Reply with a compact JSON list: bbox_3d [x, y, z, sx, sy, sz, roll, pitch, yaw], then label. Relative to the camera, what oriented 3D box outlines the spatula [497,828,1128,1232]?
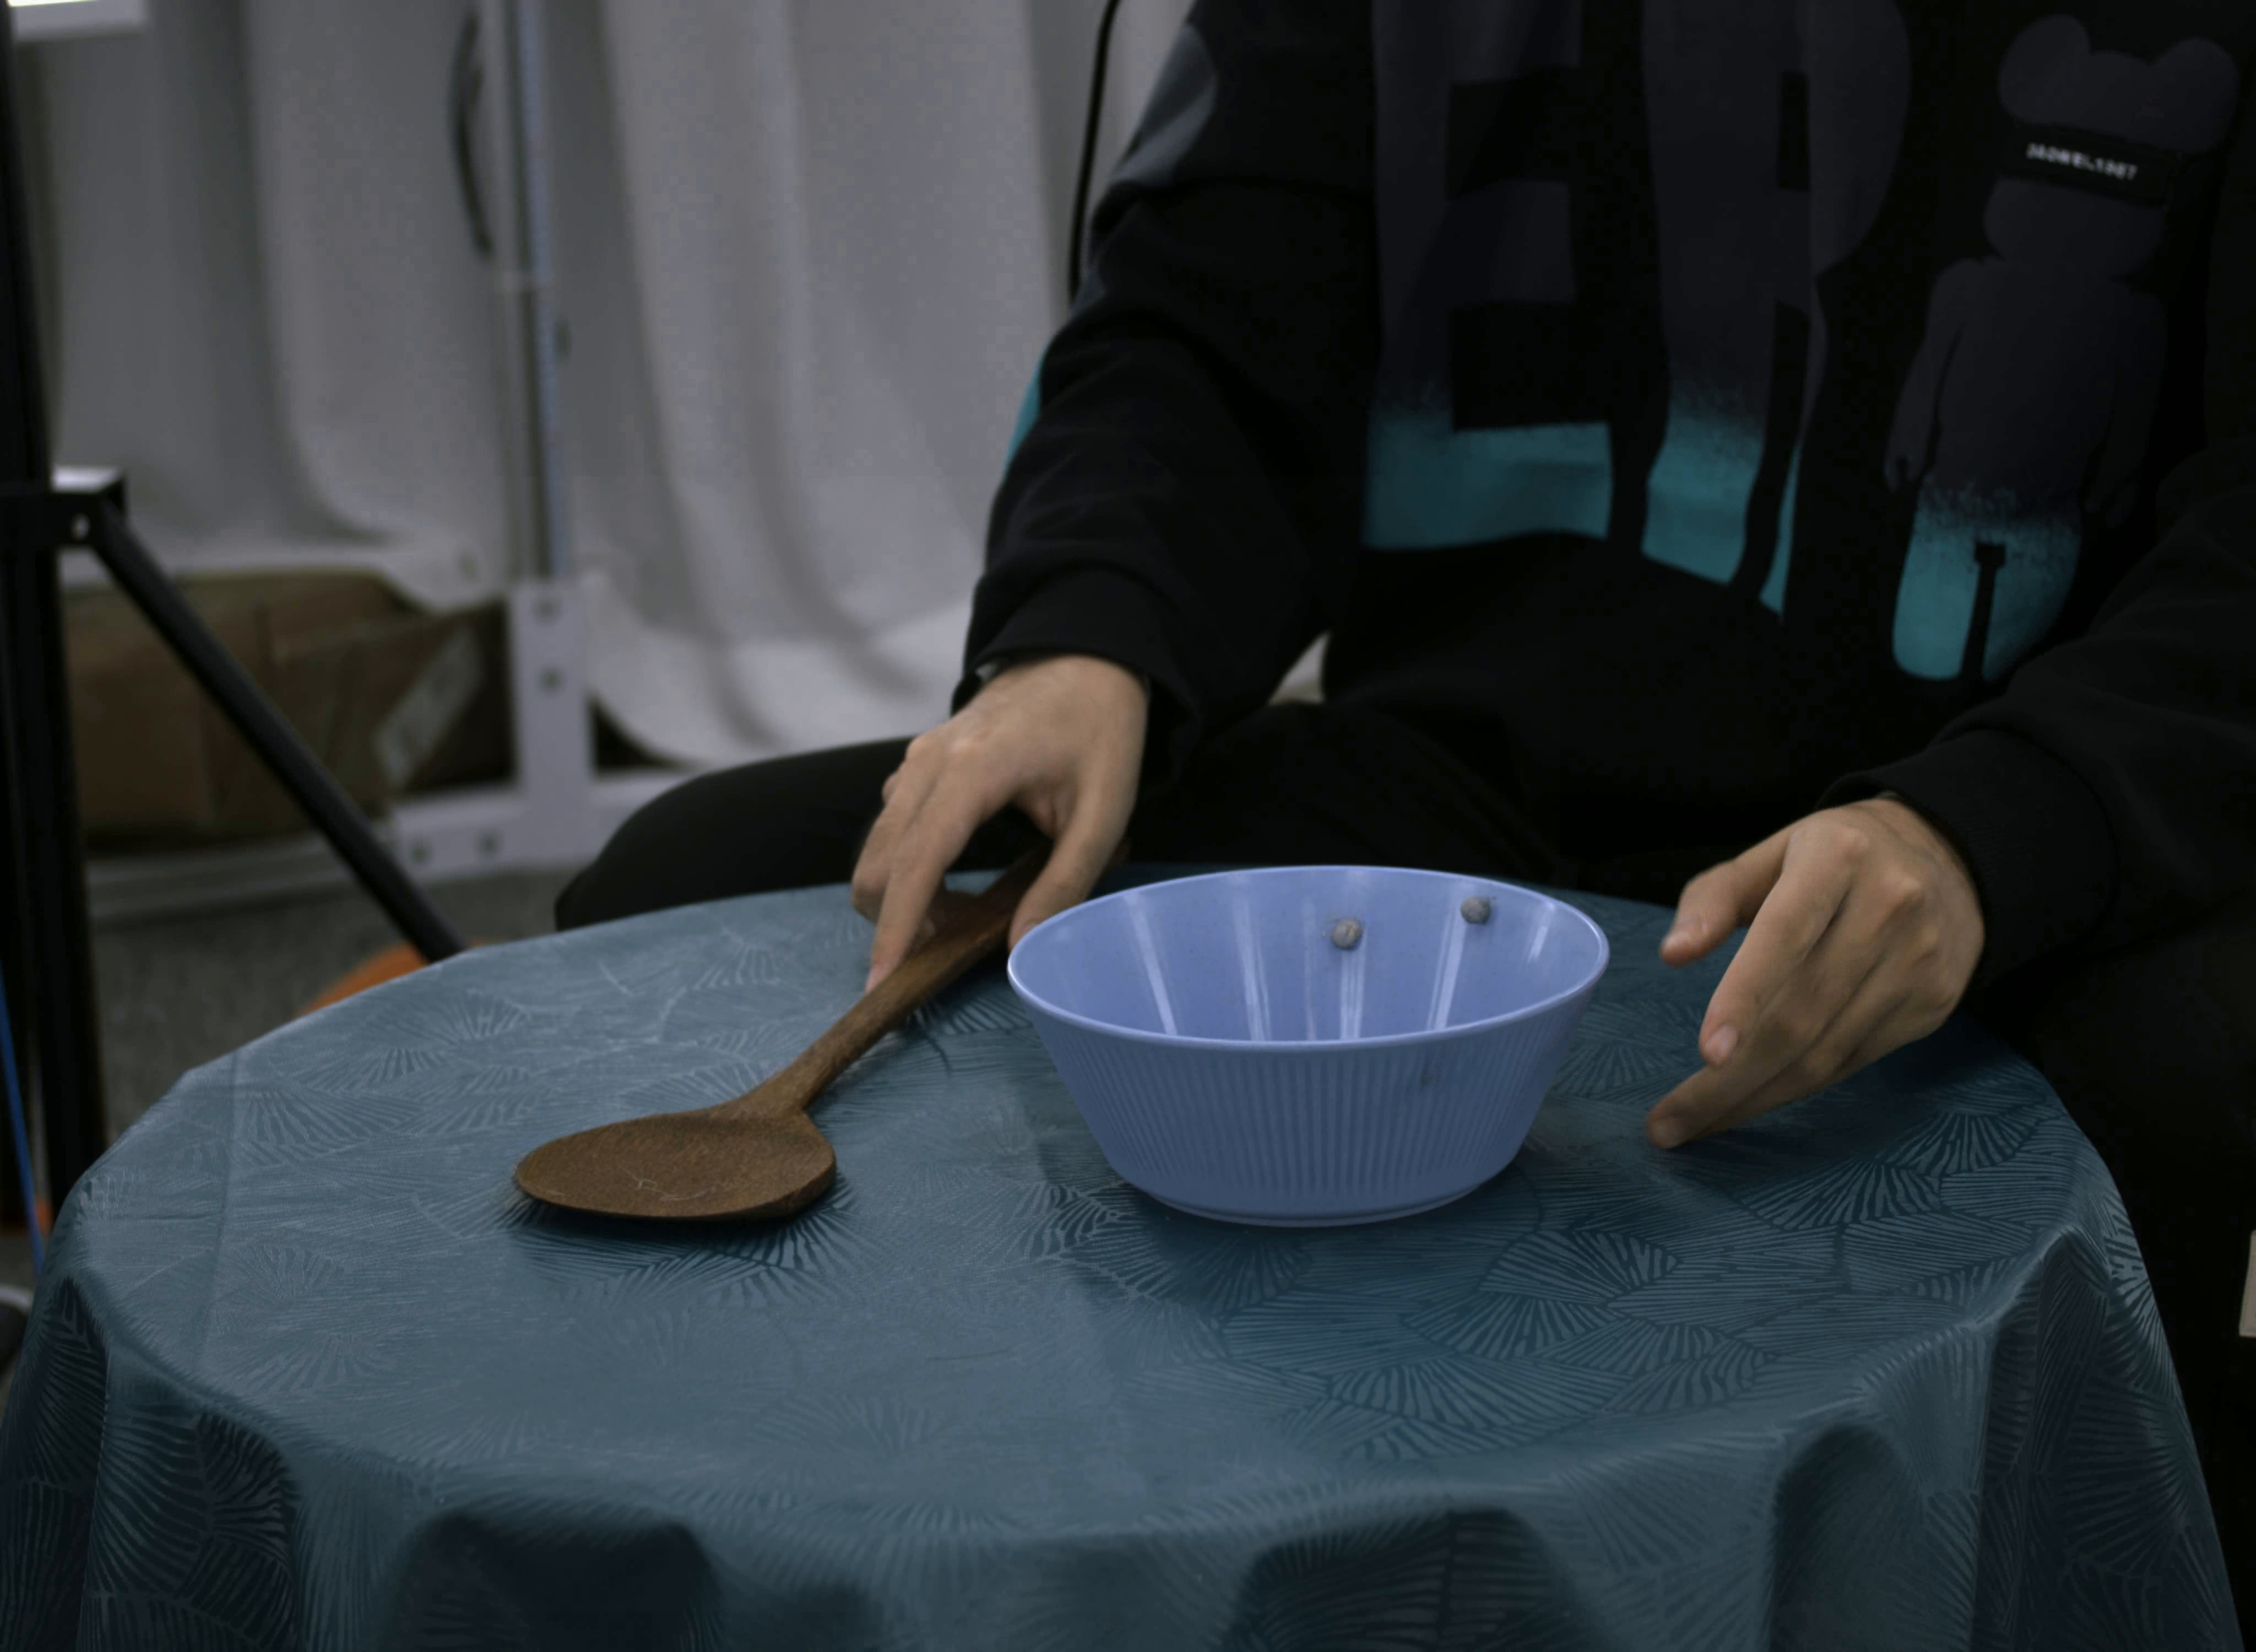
[{"bbox_3d":[-0.079,0.059,1.706,0.097,0.016,0.381,4,19,22],"label":"spatula"}]

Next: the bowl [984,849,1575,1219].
[{"bbox_3d":[0.047,0.065,1.571,0.175,0.070,0.177,-5,18,0],"label":"bowl"}]
